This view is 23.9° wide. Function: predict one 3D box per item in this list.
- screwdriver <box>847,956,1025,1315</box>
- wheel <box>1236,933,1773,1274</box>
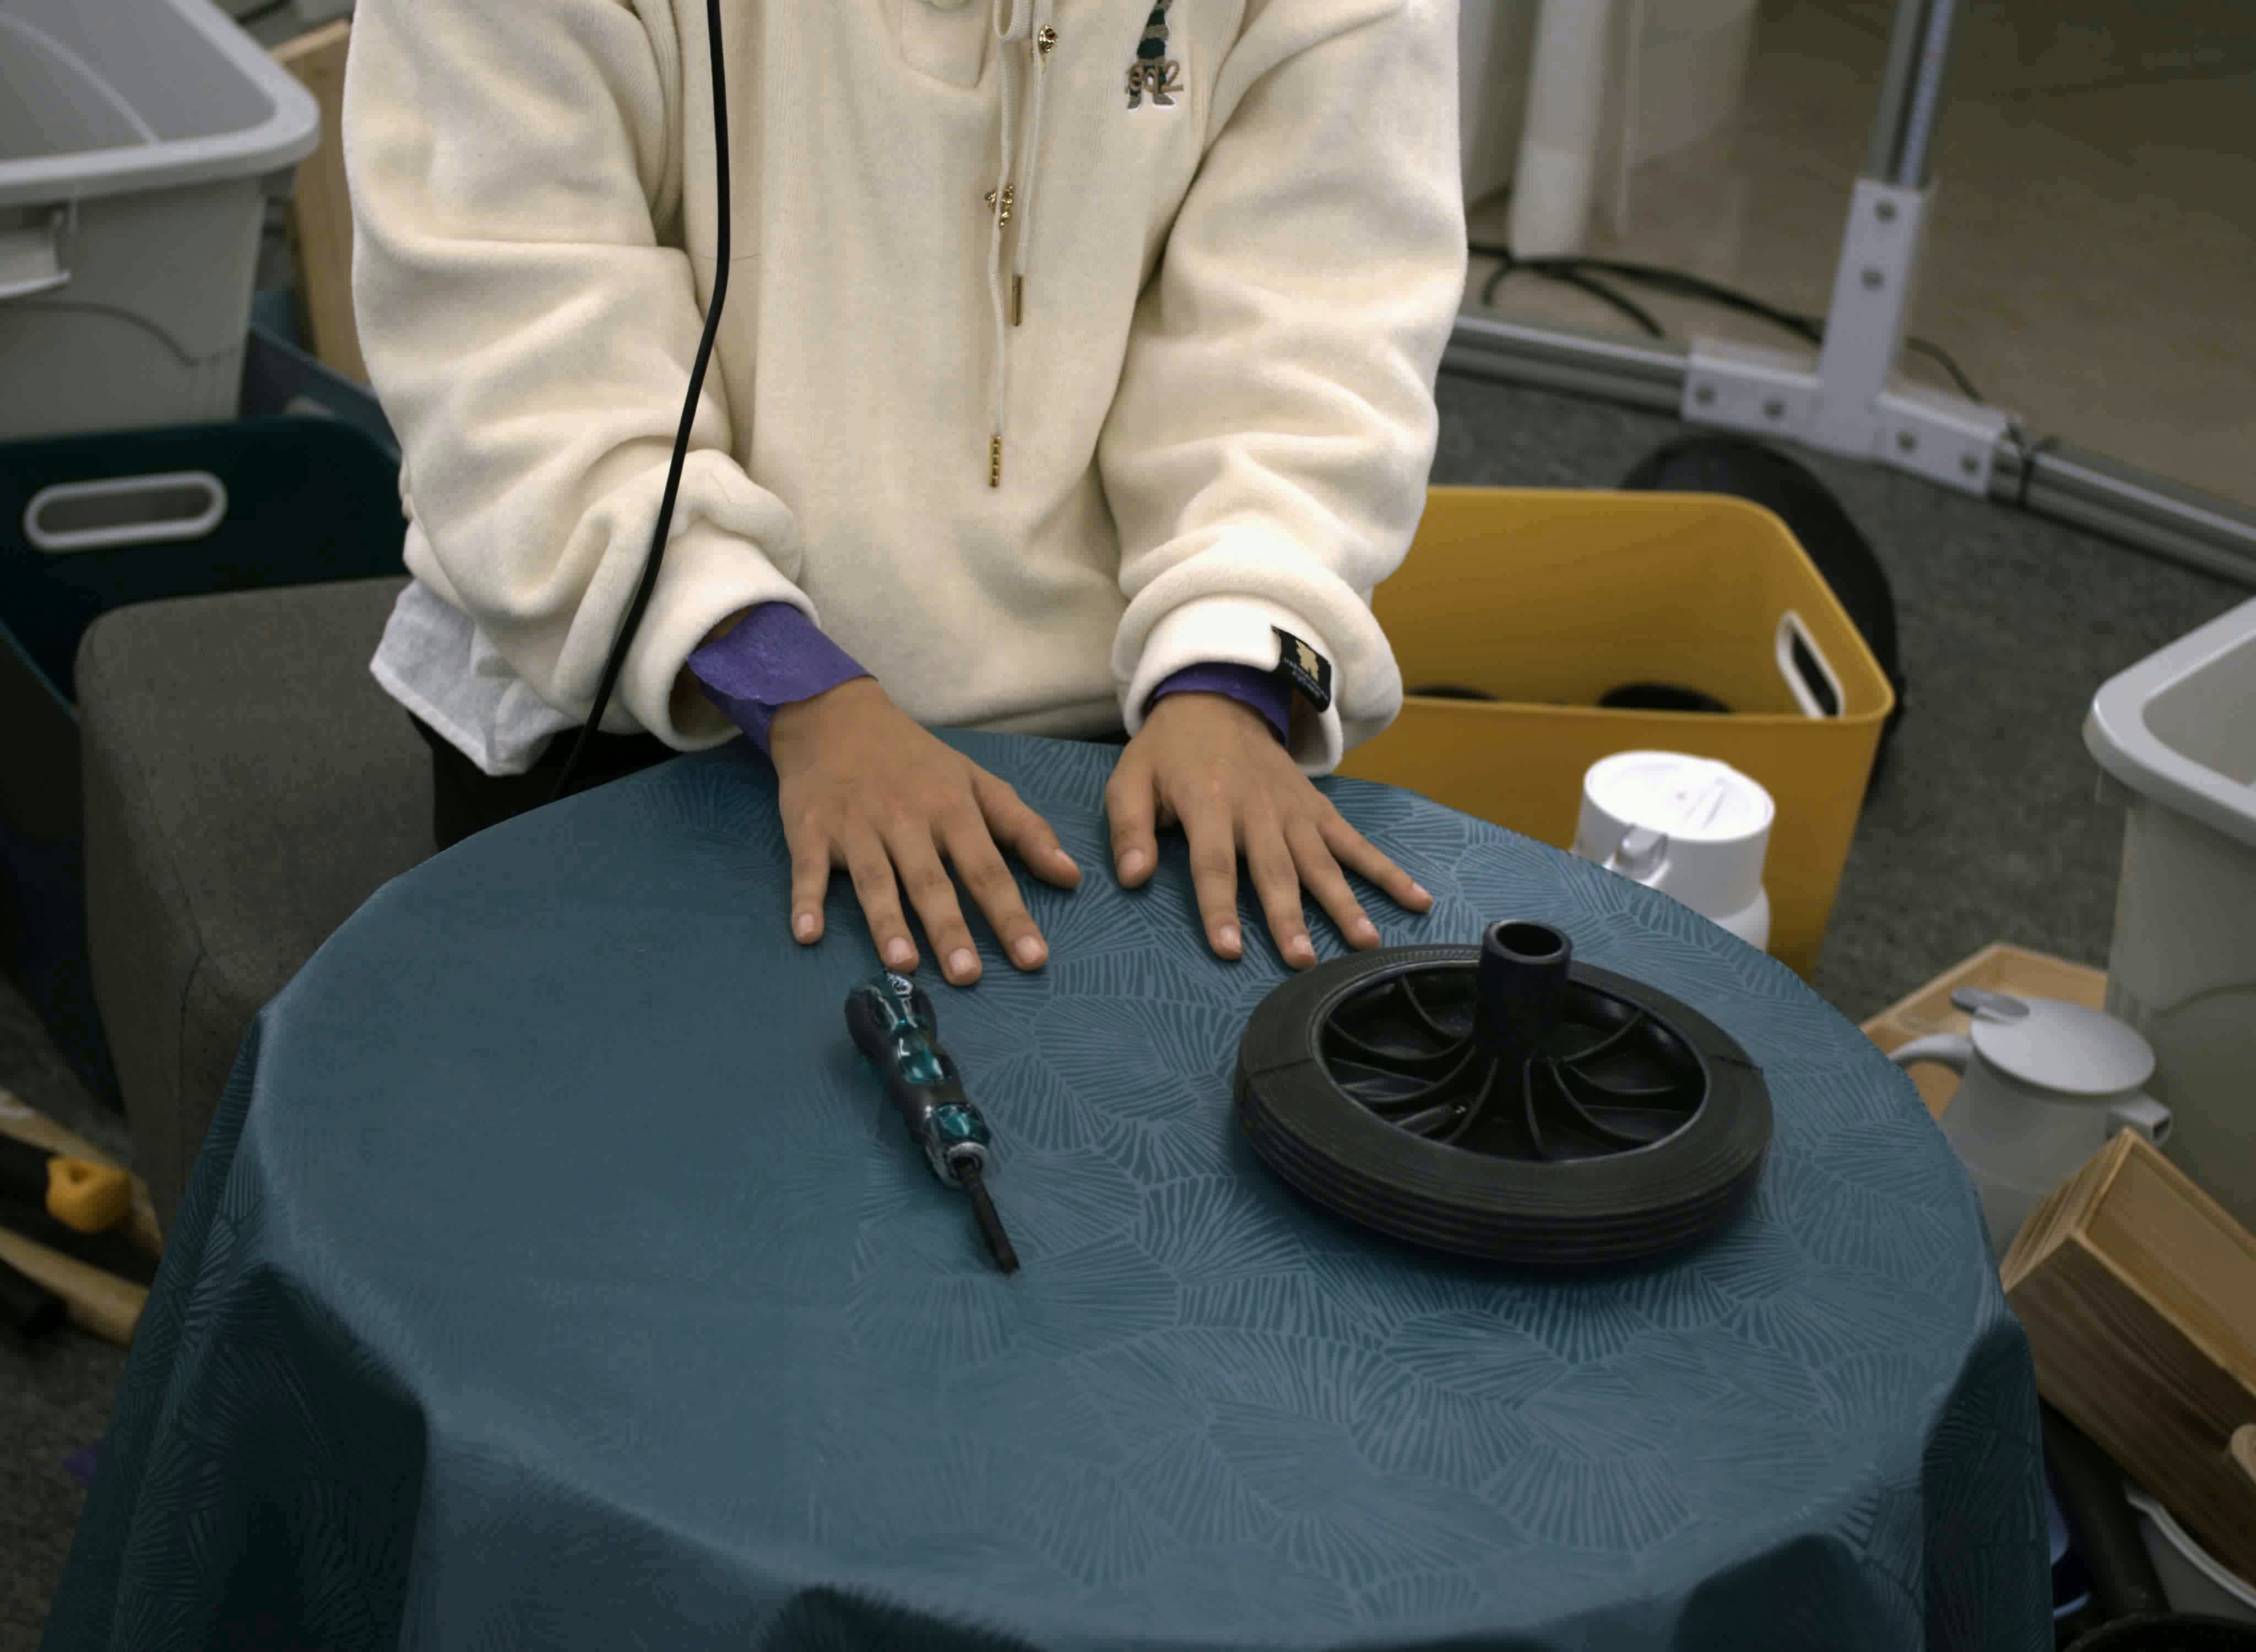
[{"bbox_3d":[-0.062,0.106,1.800,0.033,0.033,0.192,-2,33,-18],"label":"screwdriver"},{"bbox_3d":[0.132,0.079,1.836,0.188,0.079,0.190,17,29,20],"label":"wheel"}]
